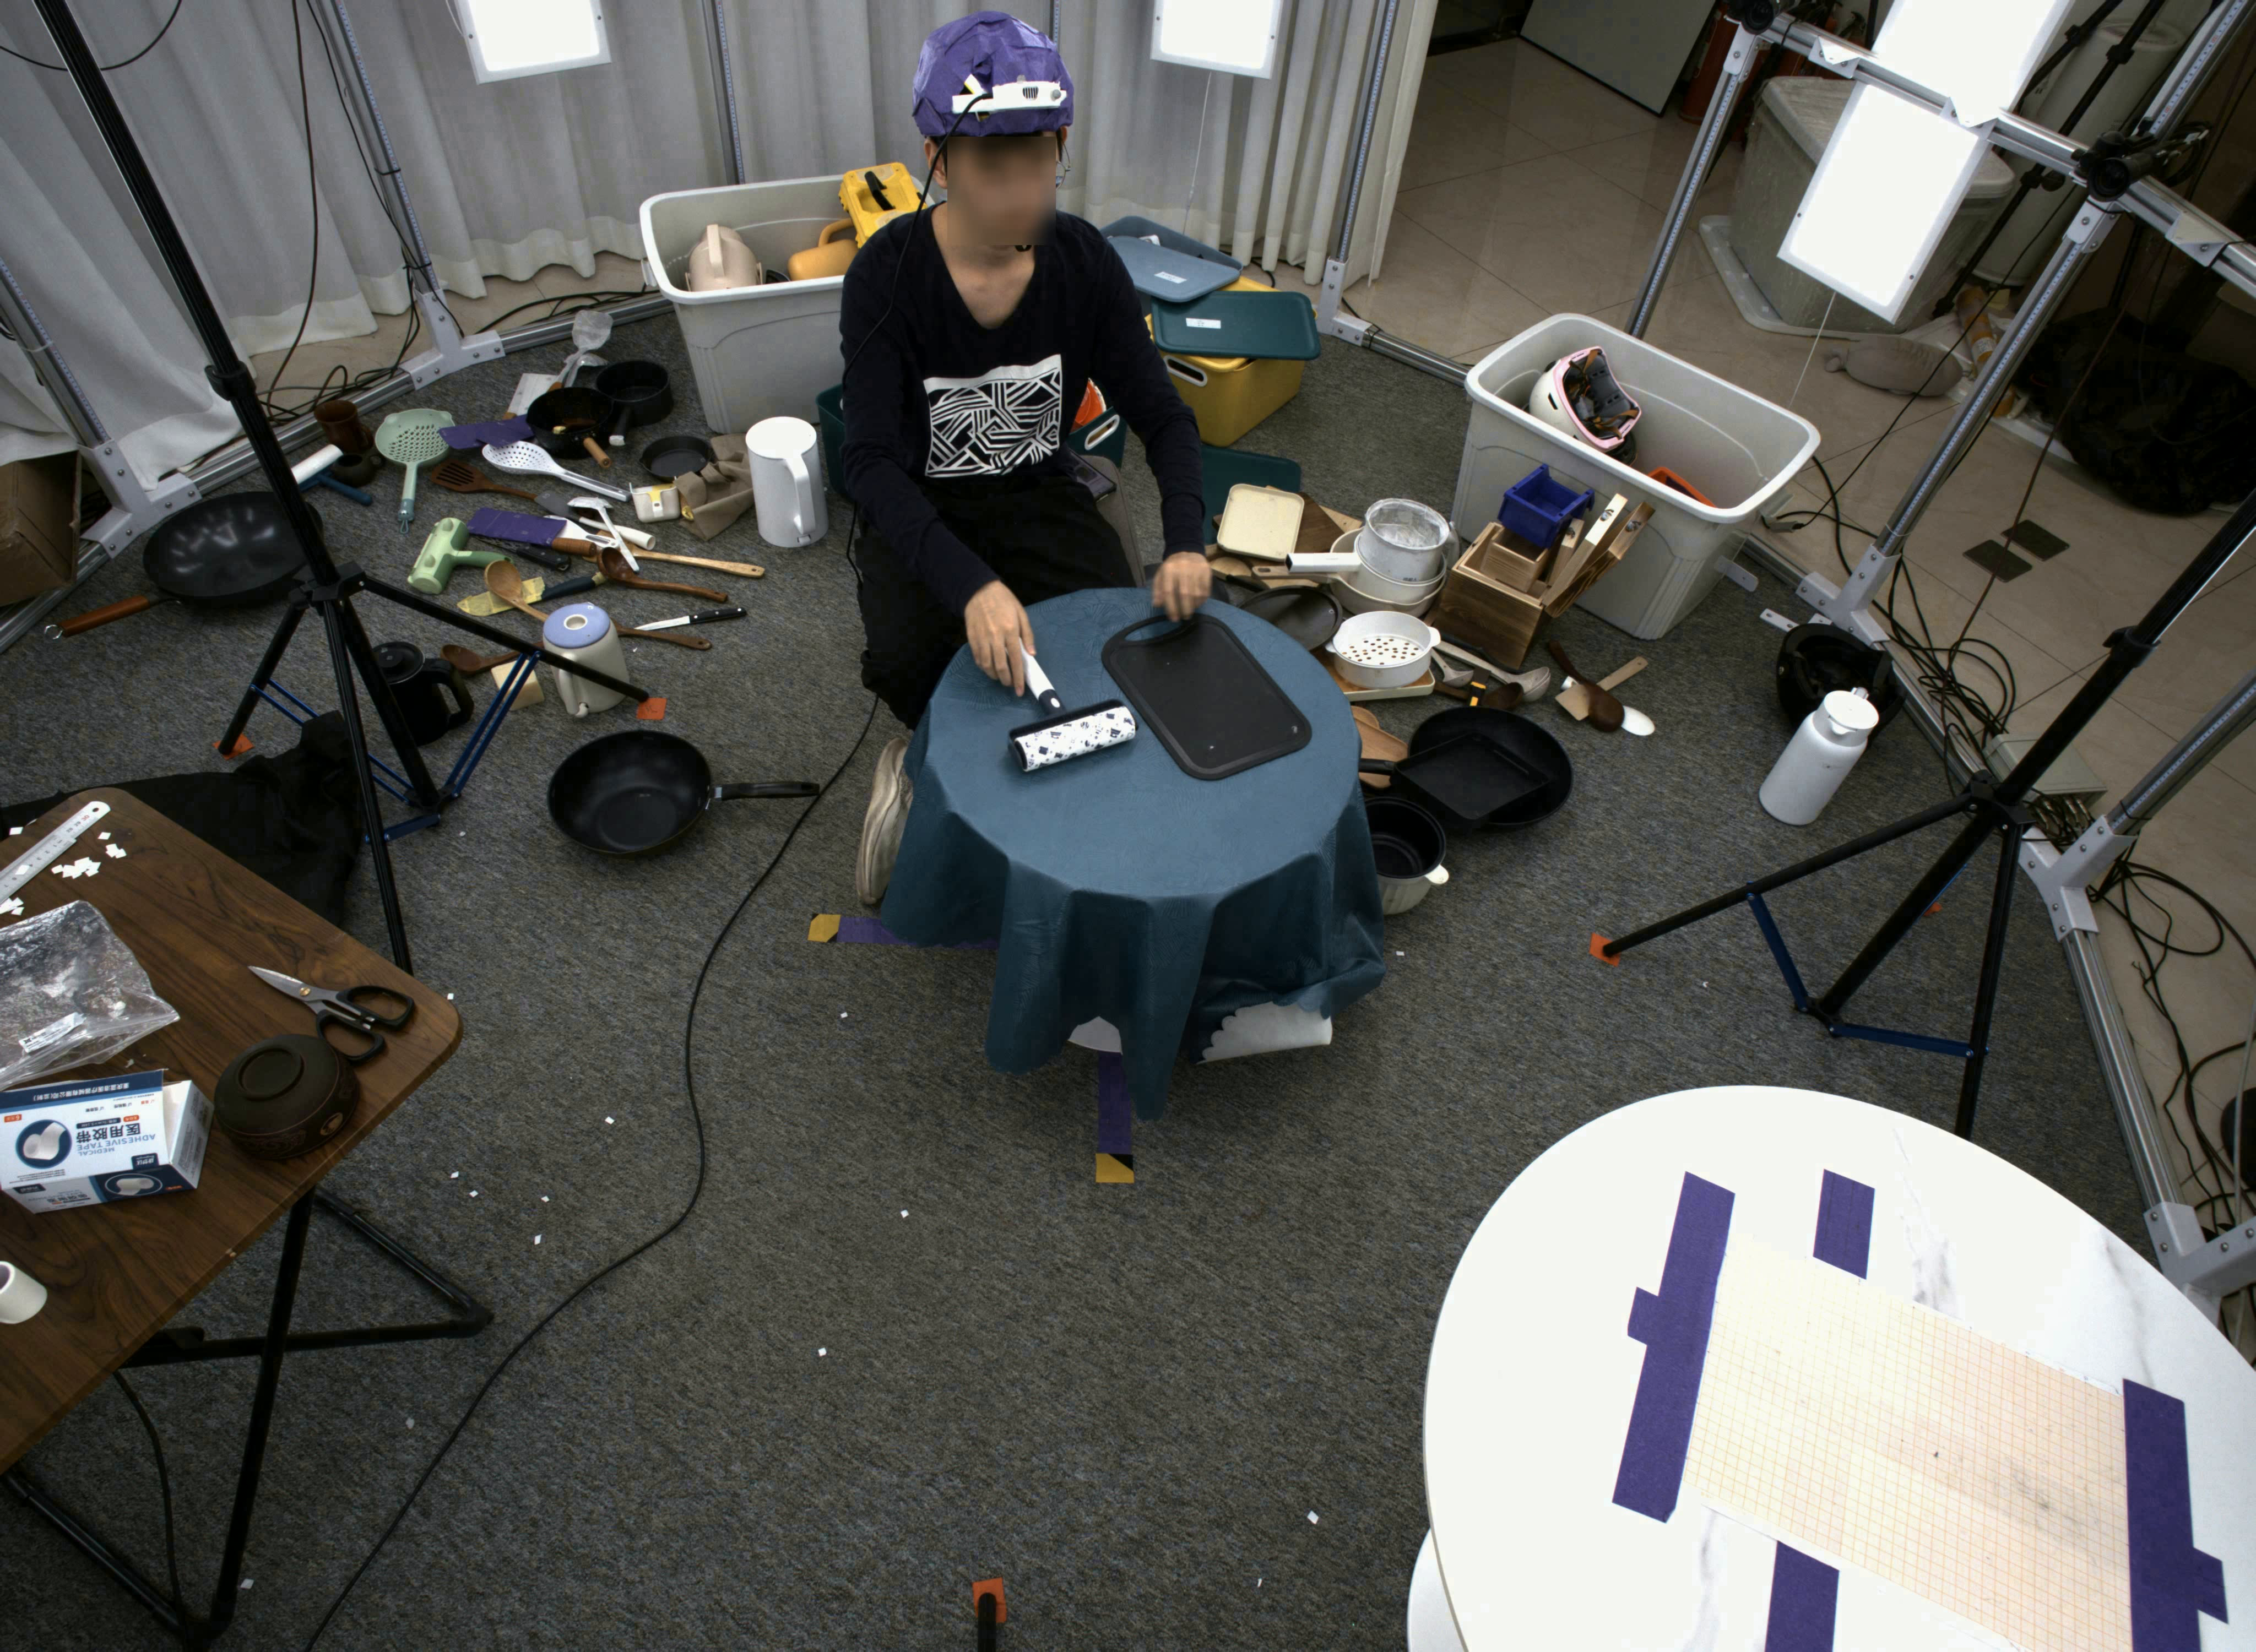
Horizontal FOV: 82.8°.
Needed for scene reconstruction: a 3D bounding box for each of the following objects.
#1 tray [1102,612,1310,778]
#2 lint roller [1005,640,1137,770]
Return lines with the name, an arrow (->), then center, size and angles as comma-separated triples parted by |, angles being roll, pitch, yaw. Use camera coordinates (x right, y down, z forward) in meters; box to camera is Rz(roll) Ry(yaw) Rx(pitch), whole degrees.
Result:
tray -> 0.104, -0.200, 1.843 | 0.211, 0.009, 0.332 | -19, 53, -20
lint roller -> -0.118, -0.188, 1.797 | 0.176, 0.049, 0.252 | -20, 50, -18
